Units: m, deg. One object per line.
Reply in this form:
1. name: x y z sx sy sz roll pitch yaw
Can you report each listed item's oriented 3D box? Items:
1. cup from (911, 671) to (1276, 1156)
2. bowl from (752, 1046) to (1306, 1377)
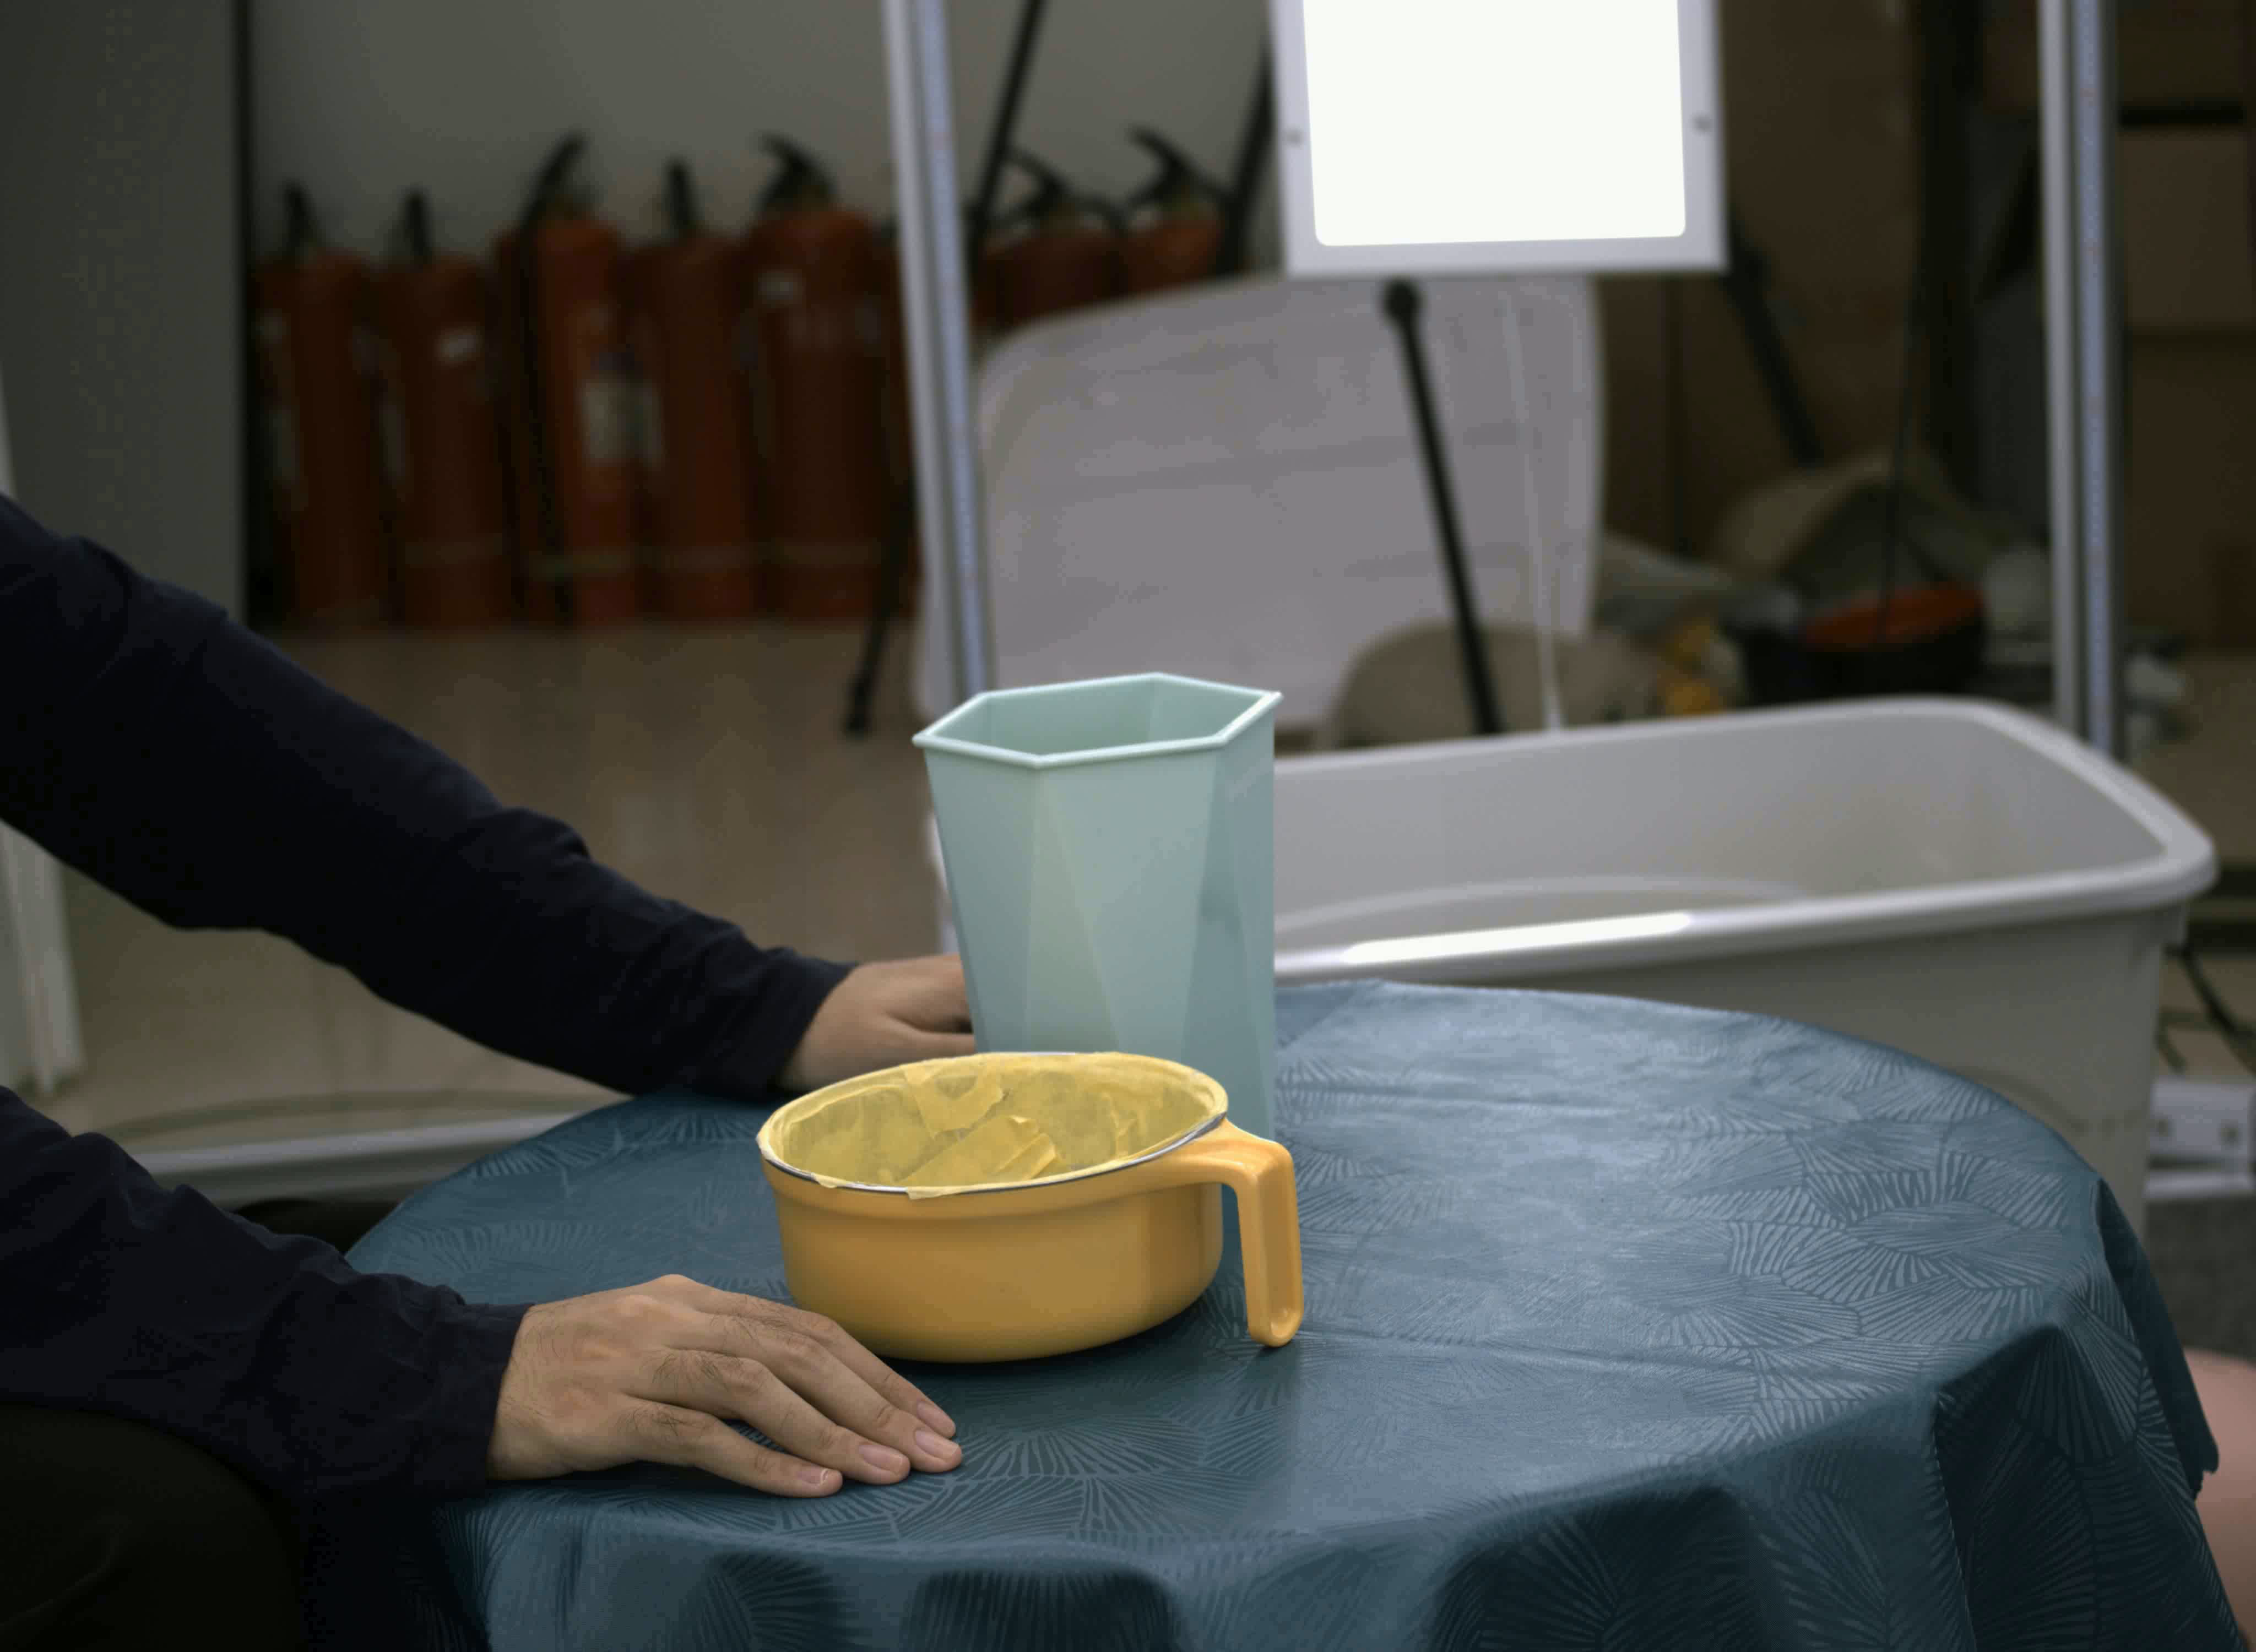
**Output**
1. cup: -0.004 0.037 1.921 0.116 0.163 0.129 -1 14 19
2. bowl: -0.030 0.127 1.770 0.182 0.074 0.149 0 14 29
